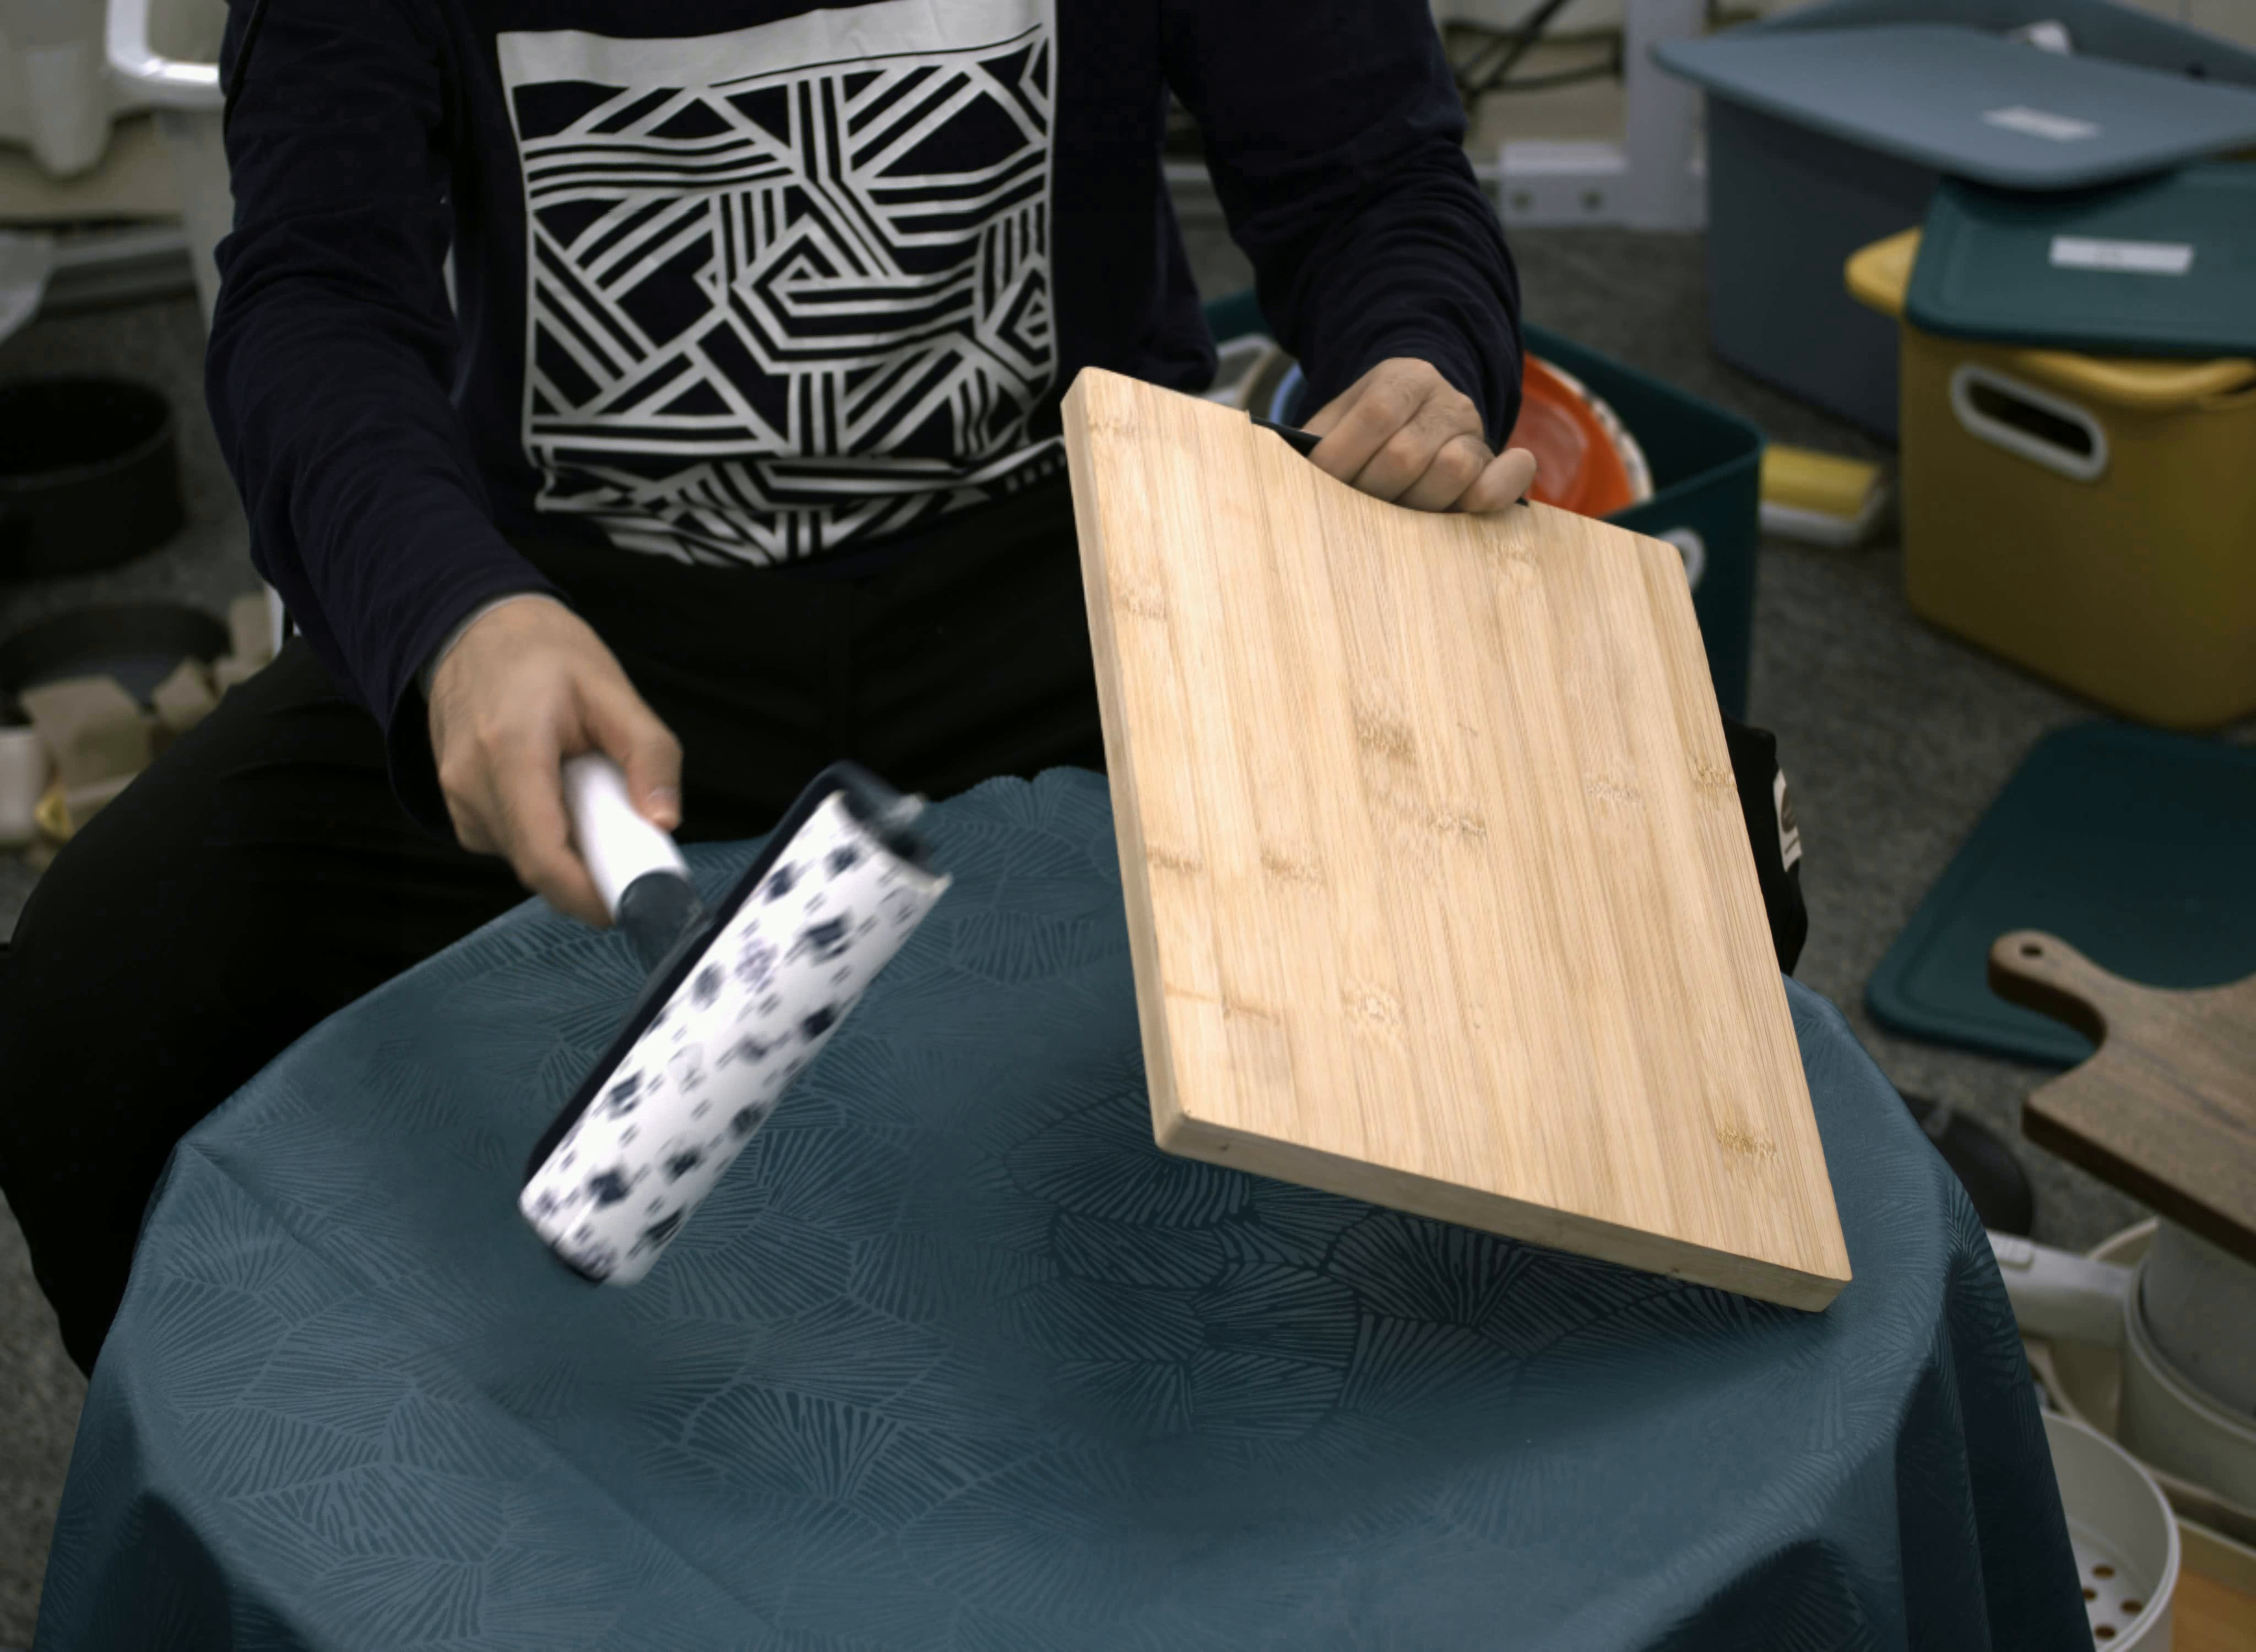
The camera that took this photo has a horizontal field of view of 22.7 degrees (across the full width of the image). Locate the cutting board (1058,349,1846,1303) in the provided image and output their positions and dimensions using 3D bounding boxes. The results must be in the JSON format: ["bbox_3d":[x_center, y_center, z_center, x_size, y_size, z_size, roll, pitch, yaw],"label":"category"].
[{"bbox_3d":[0.100,-0.005,1.853,0.250,0.023,0.355,16,41,-23],"label":"cutting board"}]

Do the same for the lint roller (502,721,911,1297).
[{"bbox_3d":[-0.161,0.025,1.821,0.050,0.175,0.249,30,12,-30],"label":"lint roller"}]
